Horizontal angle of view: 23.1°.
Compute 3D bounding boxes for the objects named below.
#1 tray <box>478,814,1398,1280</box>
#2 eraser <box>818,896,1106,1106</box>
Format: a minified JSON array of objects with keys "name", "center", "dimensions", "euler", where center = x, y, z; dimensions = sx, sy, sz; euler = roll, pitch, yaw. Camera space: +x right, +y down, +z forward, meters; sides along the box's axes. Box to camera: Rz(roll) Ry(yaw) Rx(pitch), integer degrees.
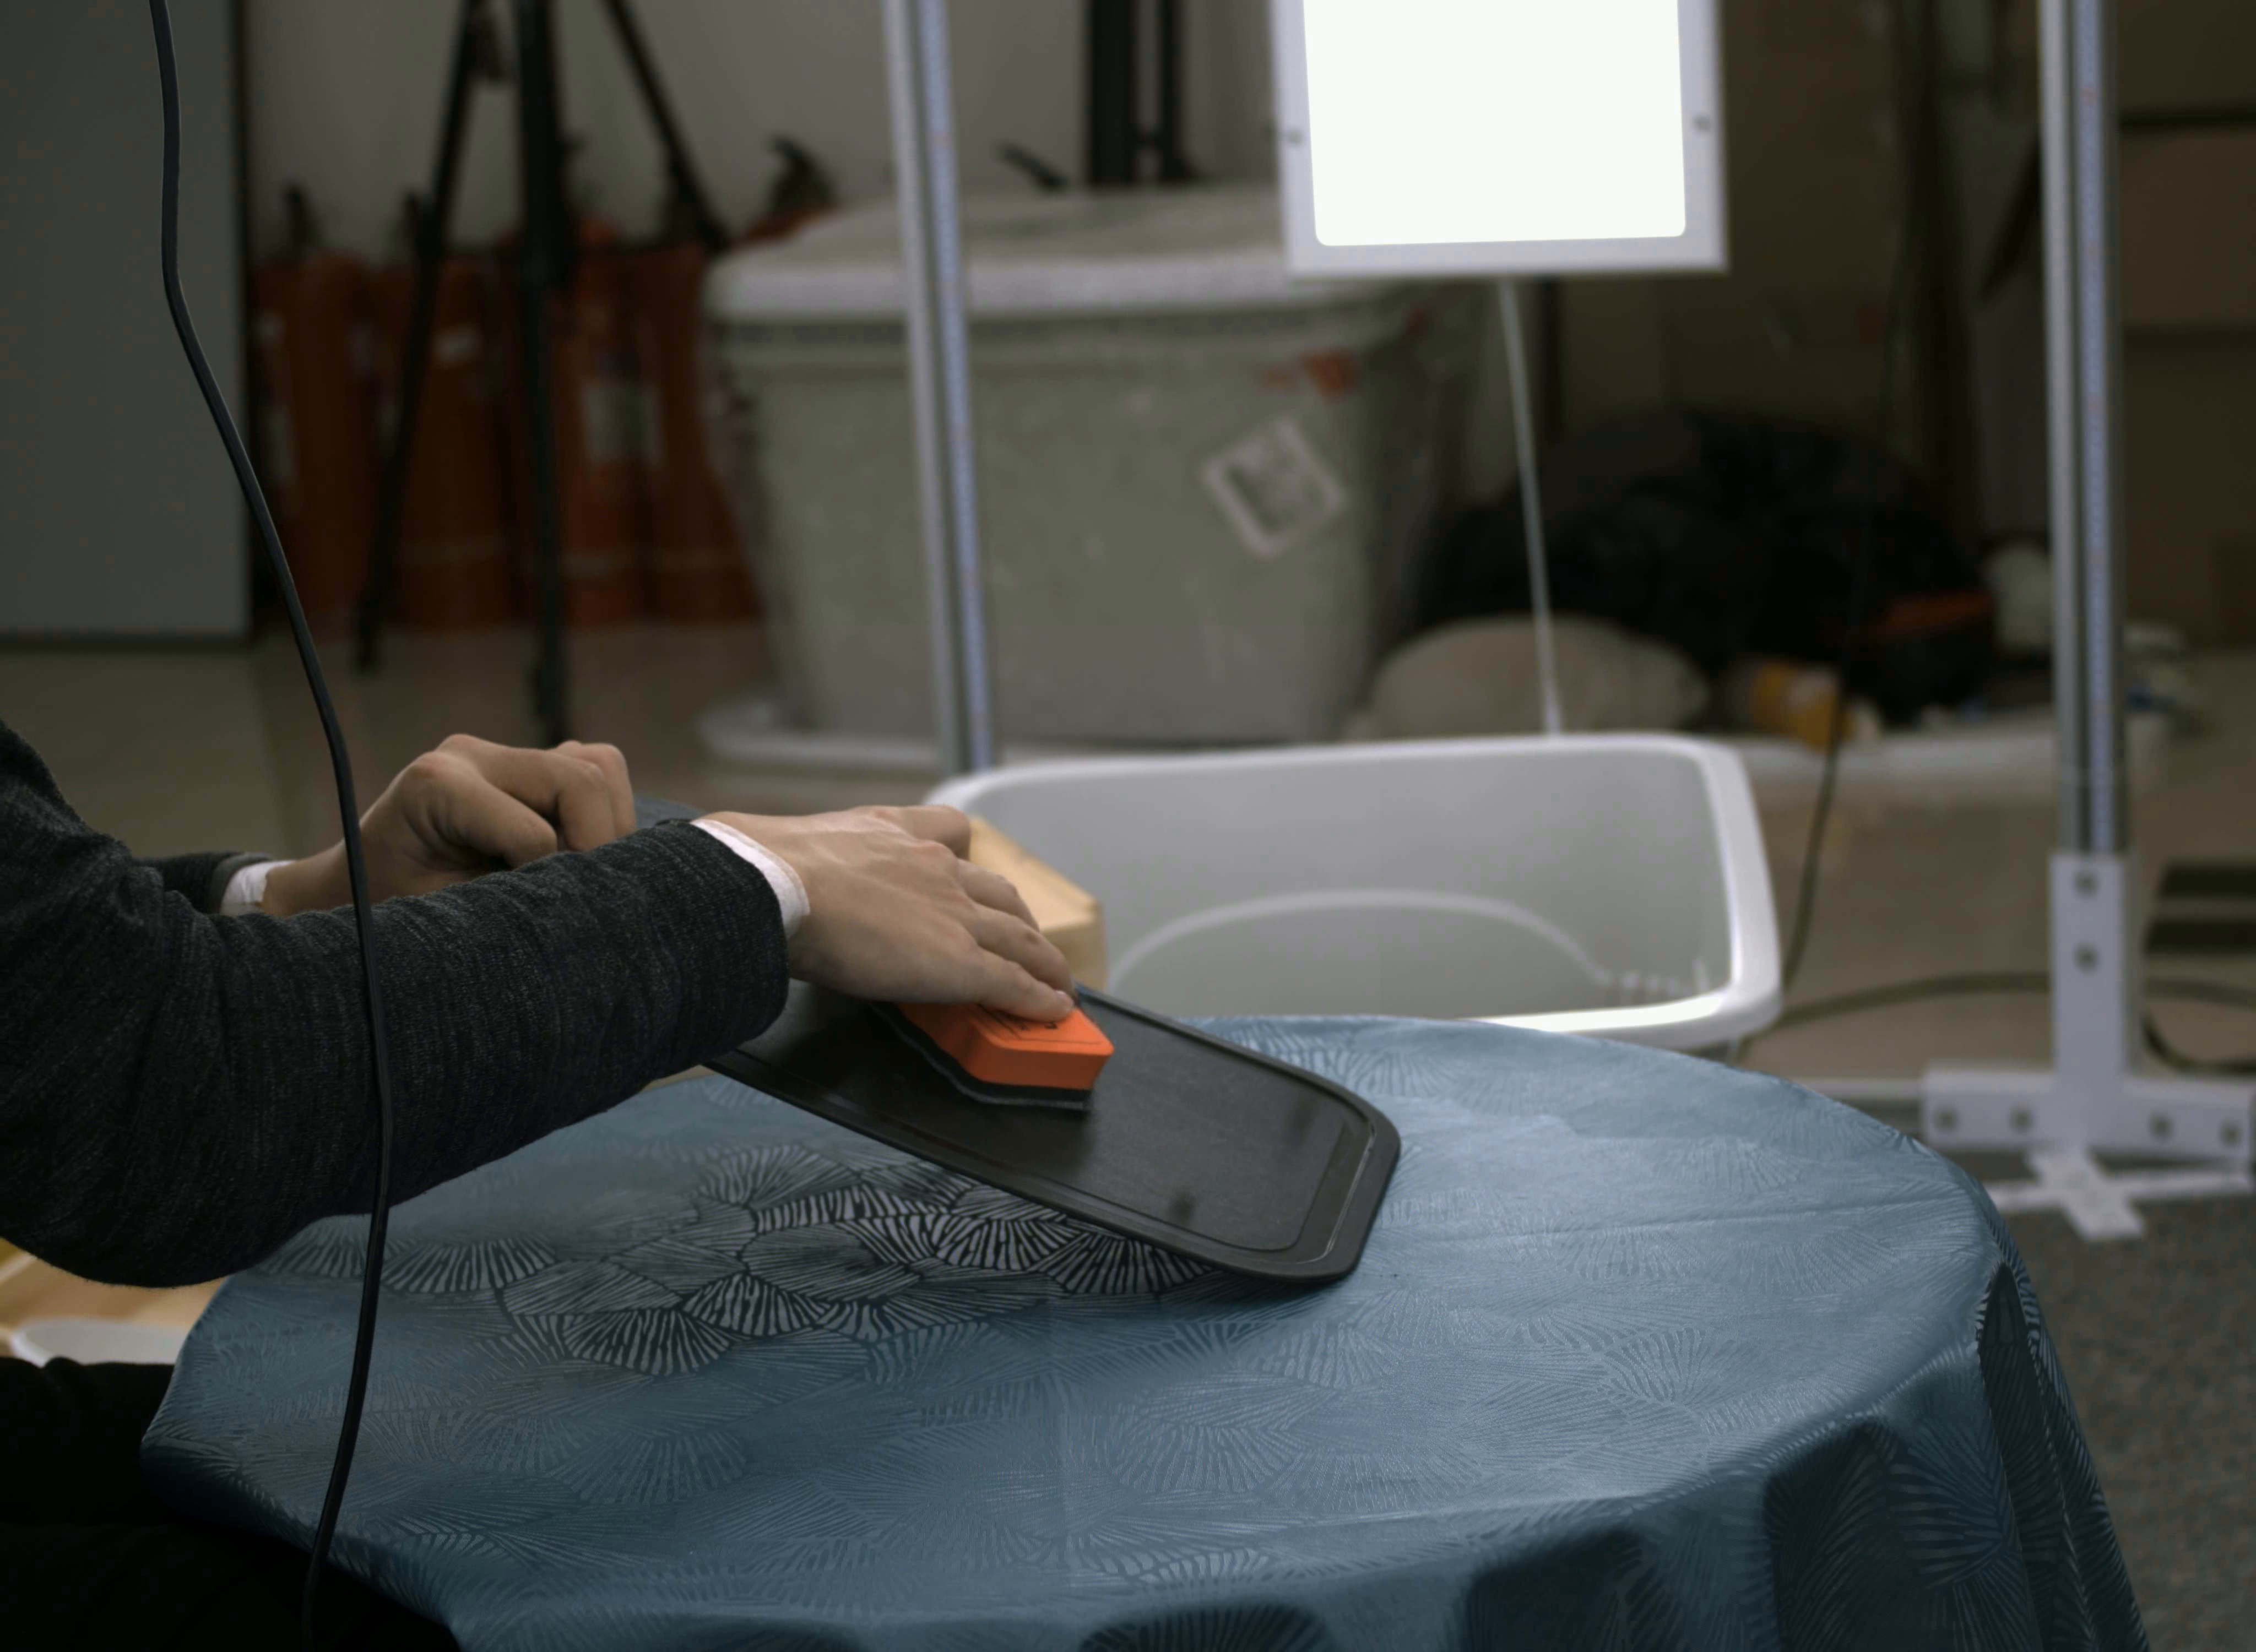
[{"name":"tray","center":[-0.066,0.068,1.873],"dimensions":[0.326,0.010,0.208],"euler":[22,17,6]},{"name":"eraser","center":[-0.057,0.059,1.878],"dimensions":[0.057,0.023,0.109],"euler":[4,25,-37]}]
